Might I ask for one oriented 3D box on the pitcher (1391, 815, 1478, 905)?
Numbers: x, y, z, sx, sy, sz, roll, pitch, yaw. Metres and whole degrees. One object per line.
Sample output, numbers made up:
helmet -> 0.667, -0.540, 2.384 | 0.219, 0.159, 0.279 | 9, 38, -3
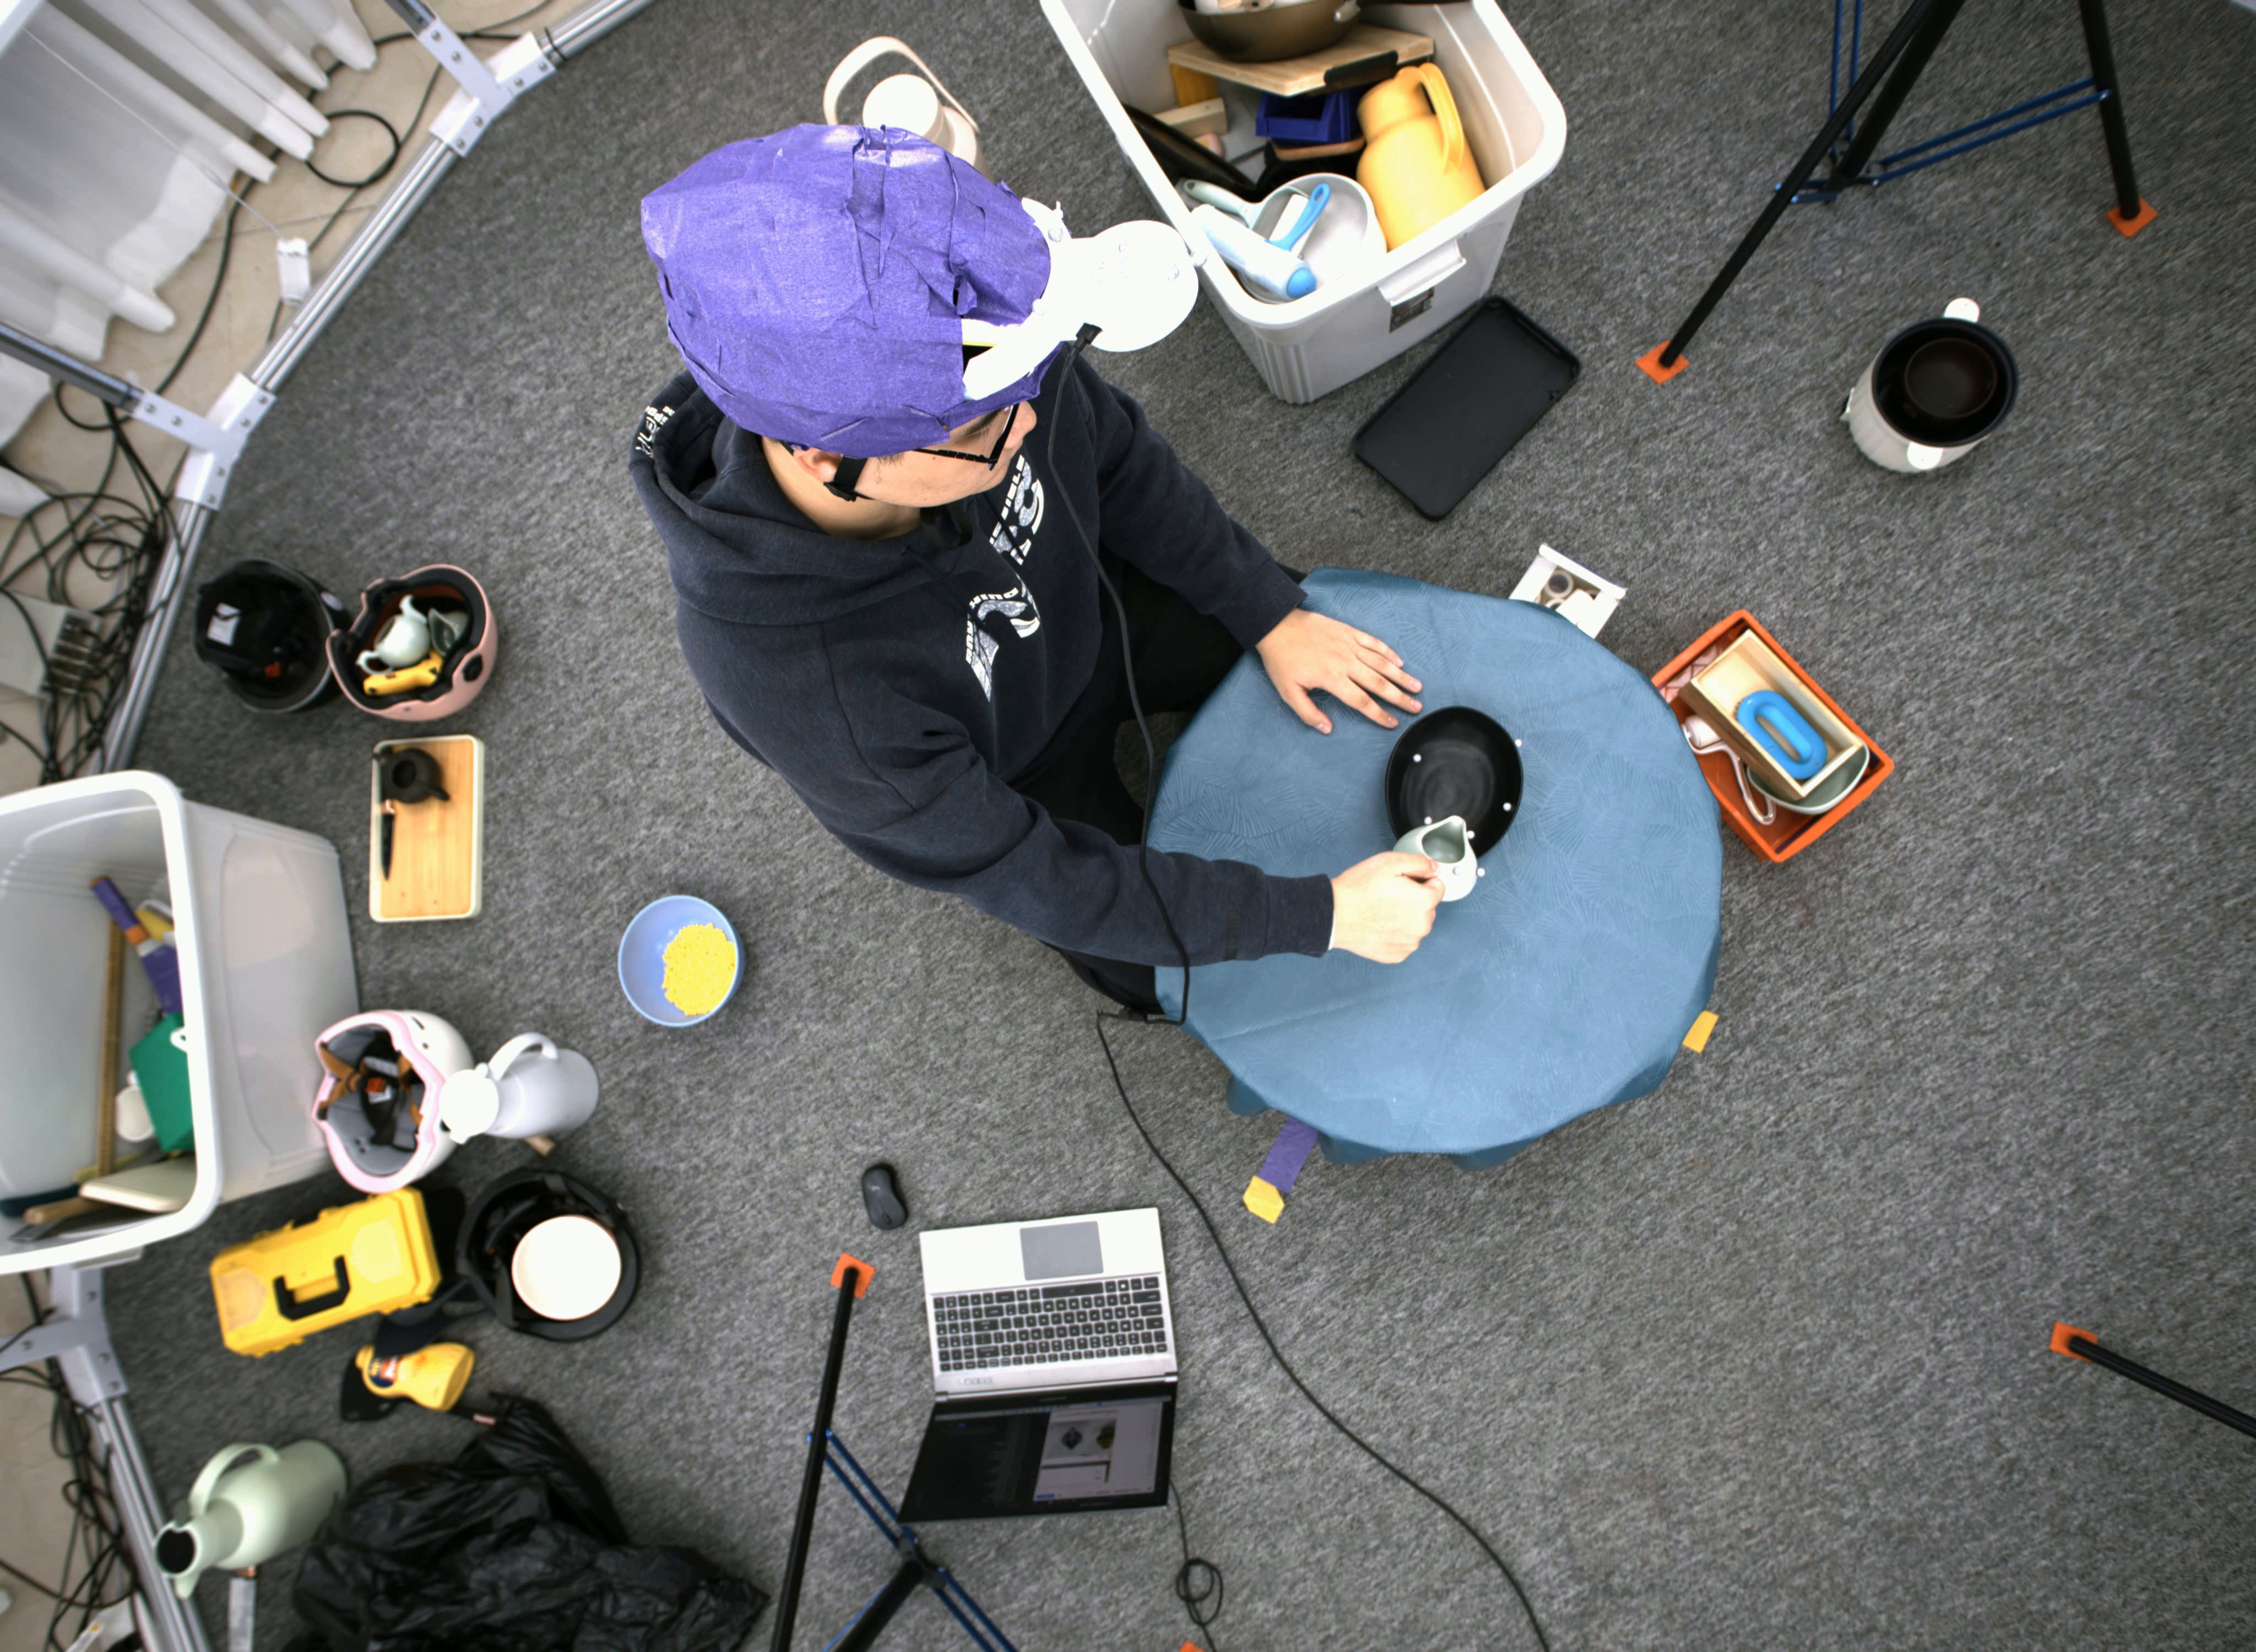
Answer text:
pitcher -> 0.296, 0.039, 1.337 | 0.086, 0.062, 0.105 | 26, 53, 12

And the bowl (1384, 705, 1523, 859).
bowl -> 0.335, -0.039, 1.423 | 0.137, 0.066, 0.170 | 12, 89, 12
